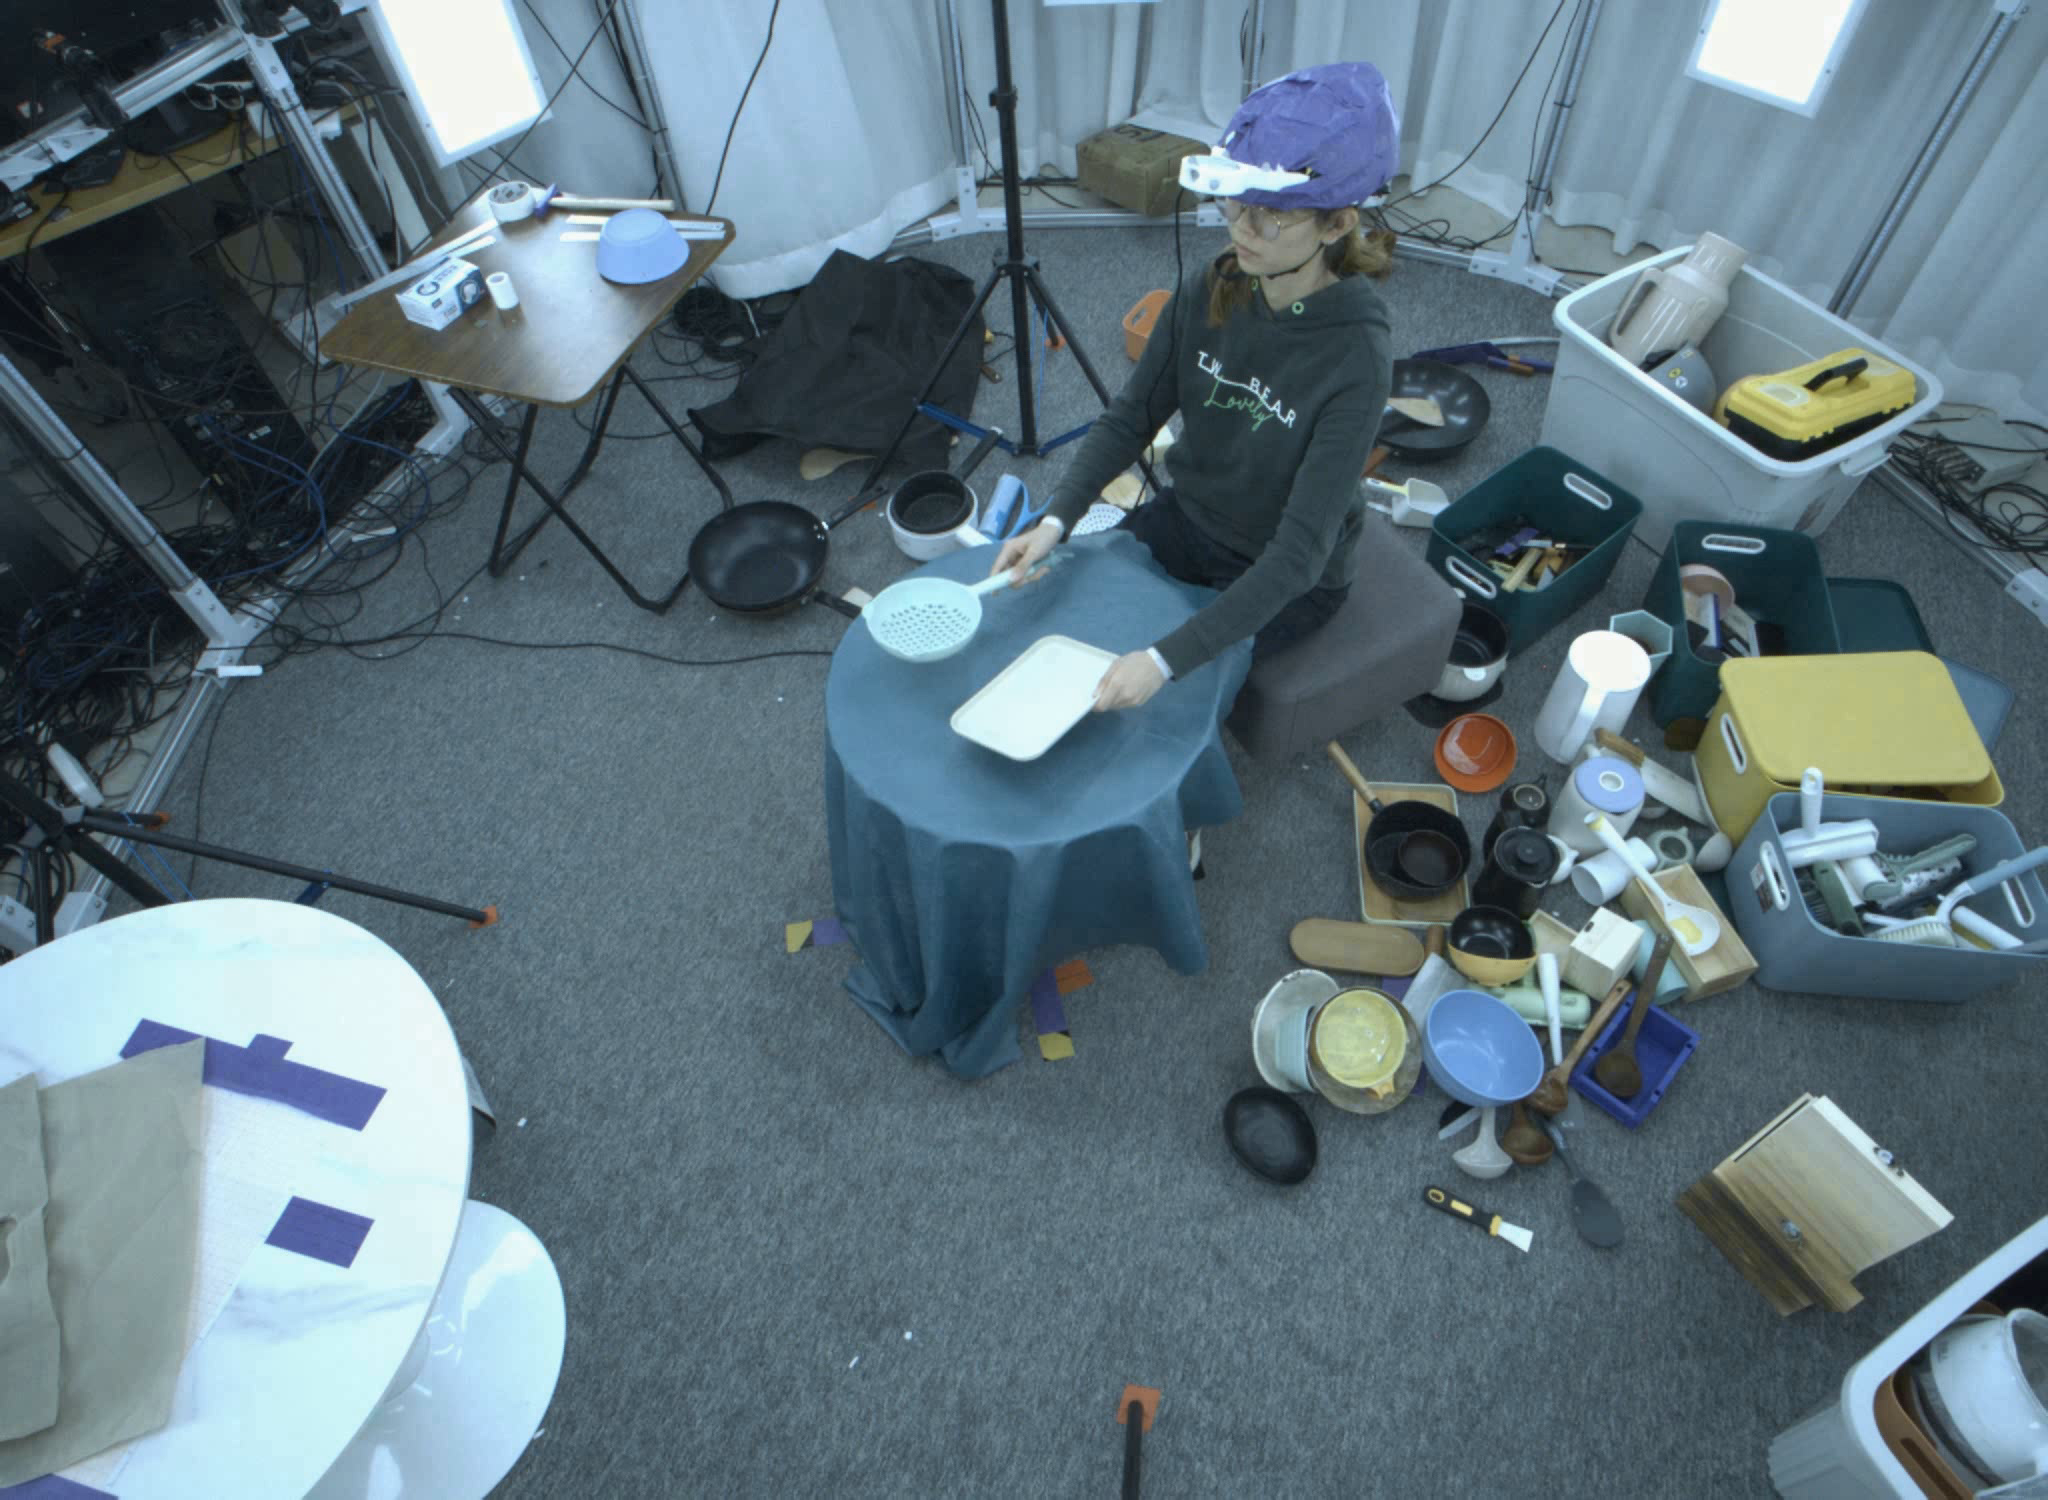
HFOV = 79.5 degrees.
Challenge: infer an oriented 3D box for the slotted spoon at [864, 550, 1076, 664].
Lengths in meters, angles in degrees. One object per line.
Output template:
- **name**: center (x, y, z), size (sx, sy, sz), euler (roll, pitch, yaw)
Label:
- **slotted spoon**: center (-0.067, -0.235, 1.857), size (0.361, 0.076, 0.166), euler (-35, 57, -19)

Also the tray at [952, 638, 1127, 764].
- **tray**: center (0.024, -0.071, 1.762), size (0.167, 0.018, 0.241), euler (24, 54, 35)
